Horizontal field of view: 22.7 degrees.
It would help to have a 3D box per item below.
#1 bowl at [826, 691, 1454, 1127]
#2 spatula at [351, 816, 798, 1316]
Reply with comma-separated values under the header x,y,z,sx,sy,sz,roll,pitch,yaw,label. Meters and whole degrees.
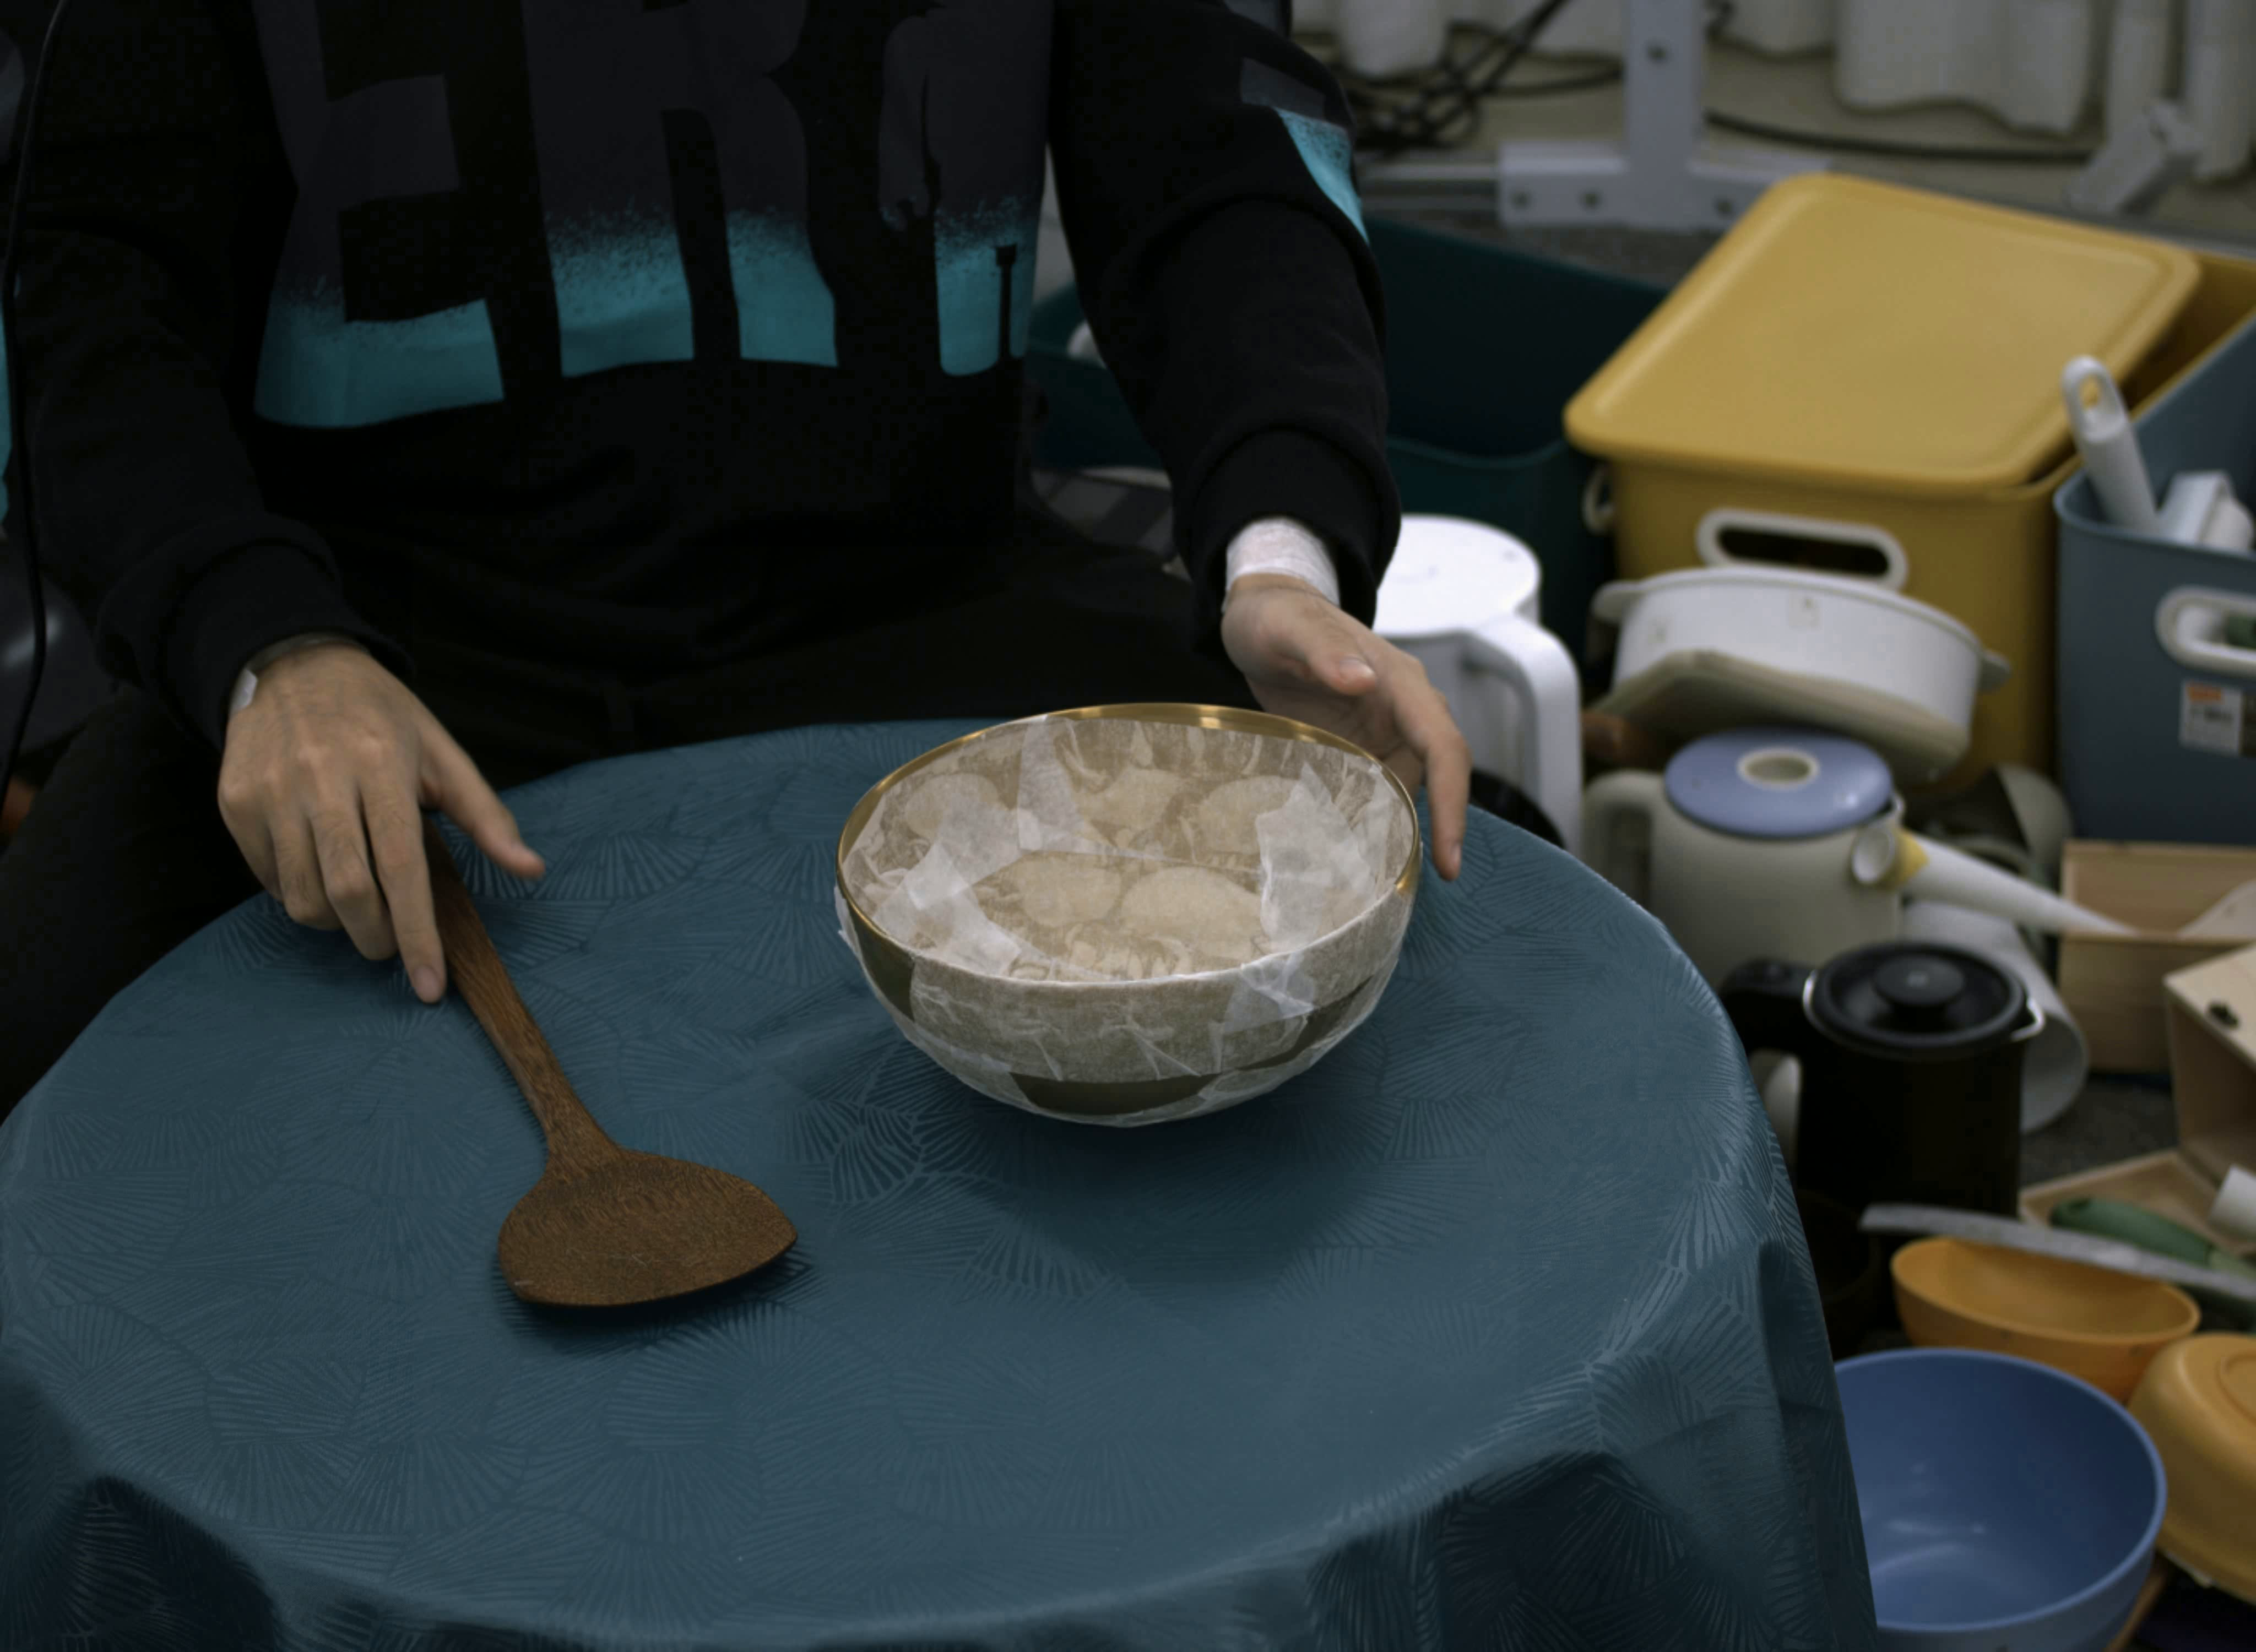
x,y,z,sx,sy,sz,roll,pitch,yaw,label
0.005,0.041,1.916,0.213,0.093,0.218,-3,27,2,bowl
-0.213,0.075,1.958,0.096,0.015,0.389,-12,28,-18,spatula
